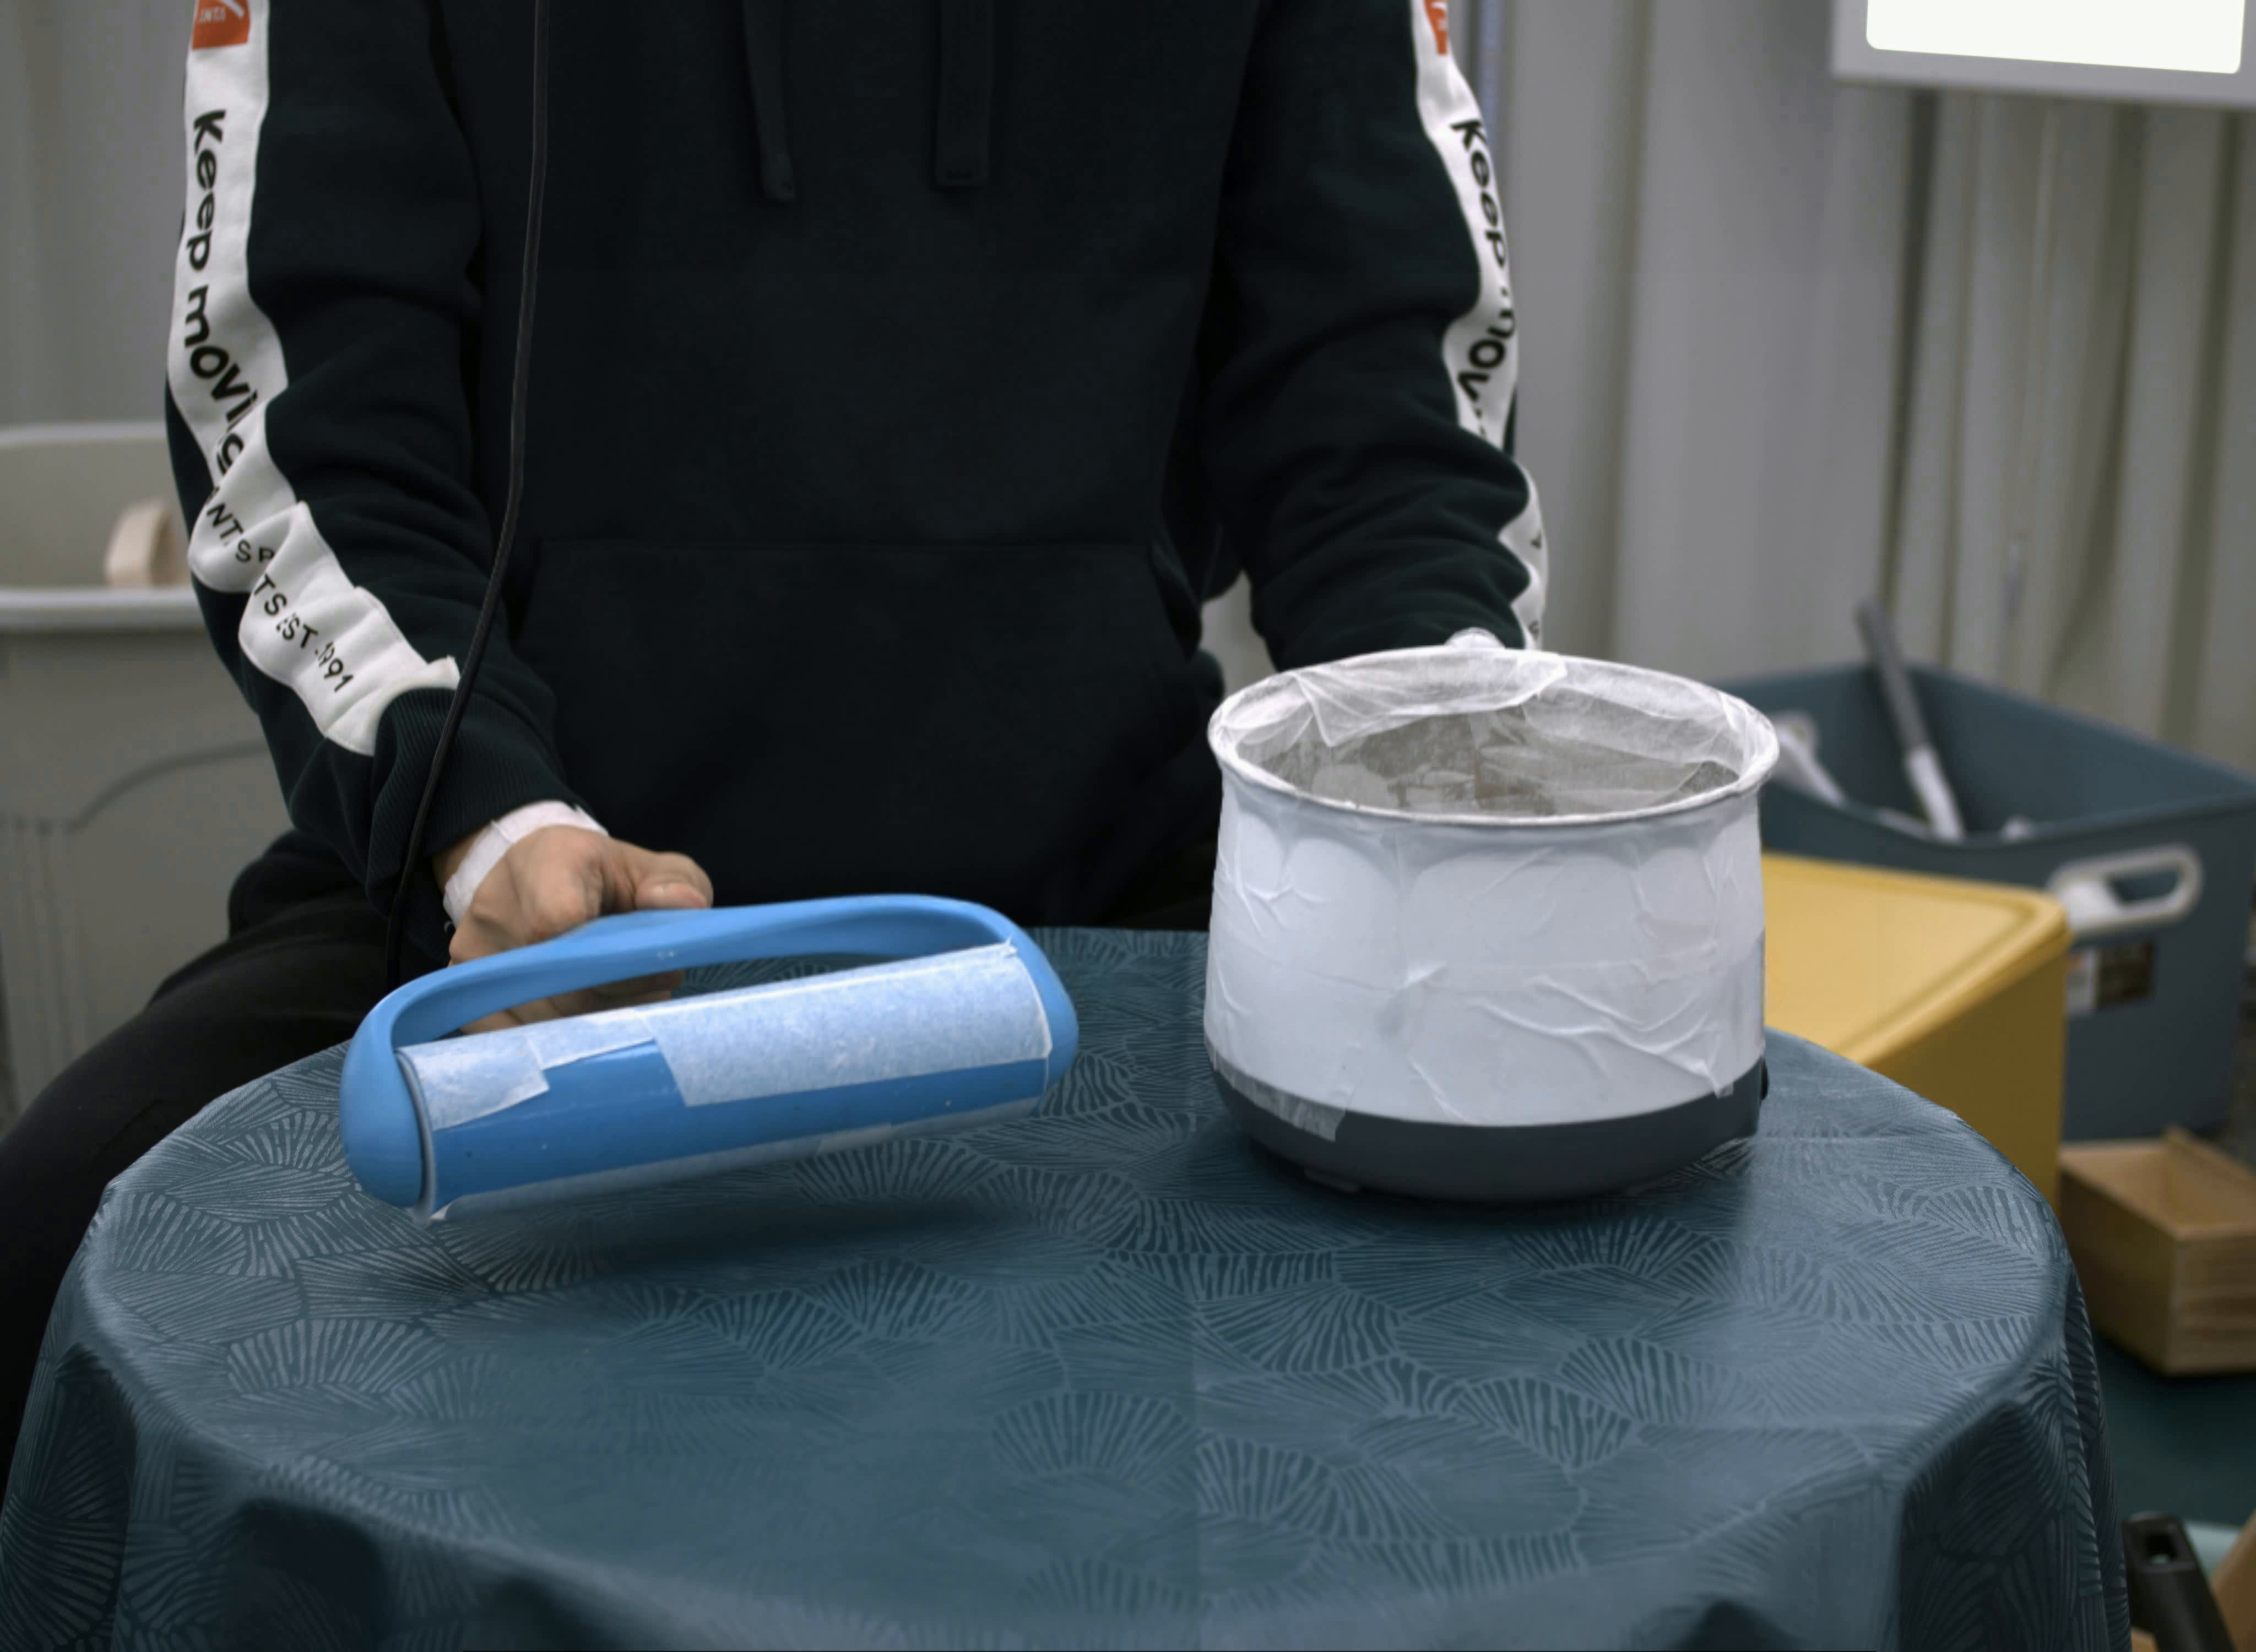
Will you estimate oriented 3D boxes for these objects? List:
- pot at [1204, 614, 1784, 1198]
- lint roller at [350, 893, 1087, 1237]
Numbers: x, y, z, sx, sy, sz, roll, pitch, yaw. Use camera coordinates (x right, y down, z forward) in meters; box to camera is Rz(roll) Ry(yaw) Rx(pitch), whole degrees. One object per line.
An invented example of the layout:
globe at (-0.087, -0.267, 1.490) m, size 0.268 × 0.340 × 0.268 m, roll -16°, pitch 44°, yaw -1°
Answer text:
pot at (0.112, 0.019, 1.665) m, size 0.178 × 0.138 × 0.232 m, roll 1°, pitch 20°, yaw -1°
lint roller at (-0.145, 0.058, 1.604) m, size 0.229 × 0.068 × 0.178 m, roll -13°, pitch 22°, yaw -26°
